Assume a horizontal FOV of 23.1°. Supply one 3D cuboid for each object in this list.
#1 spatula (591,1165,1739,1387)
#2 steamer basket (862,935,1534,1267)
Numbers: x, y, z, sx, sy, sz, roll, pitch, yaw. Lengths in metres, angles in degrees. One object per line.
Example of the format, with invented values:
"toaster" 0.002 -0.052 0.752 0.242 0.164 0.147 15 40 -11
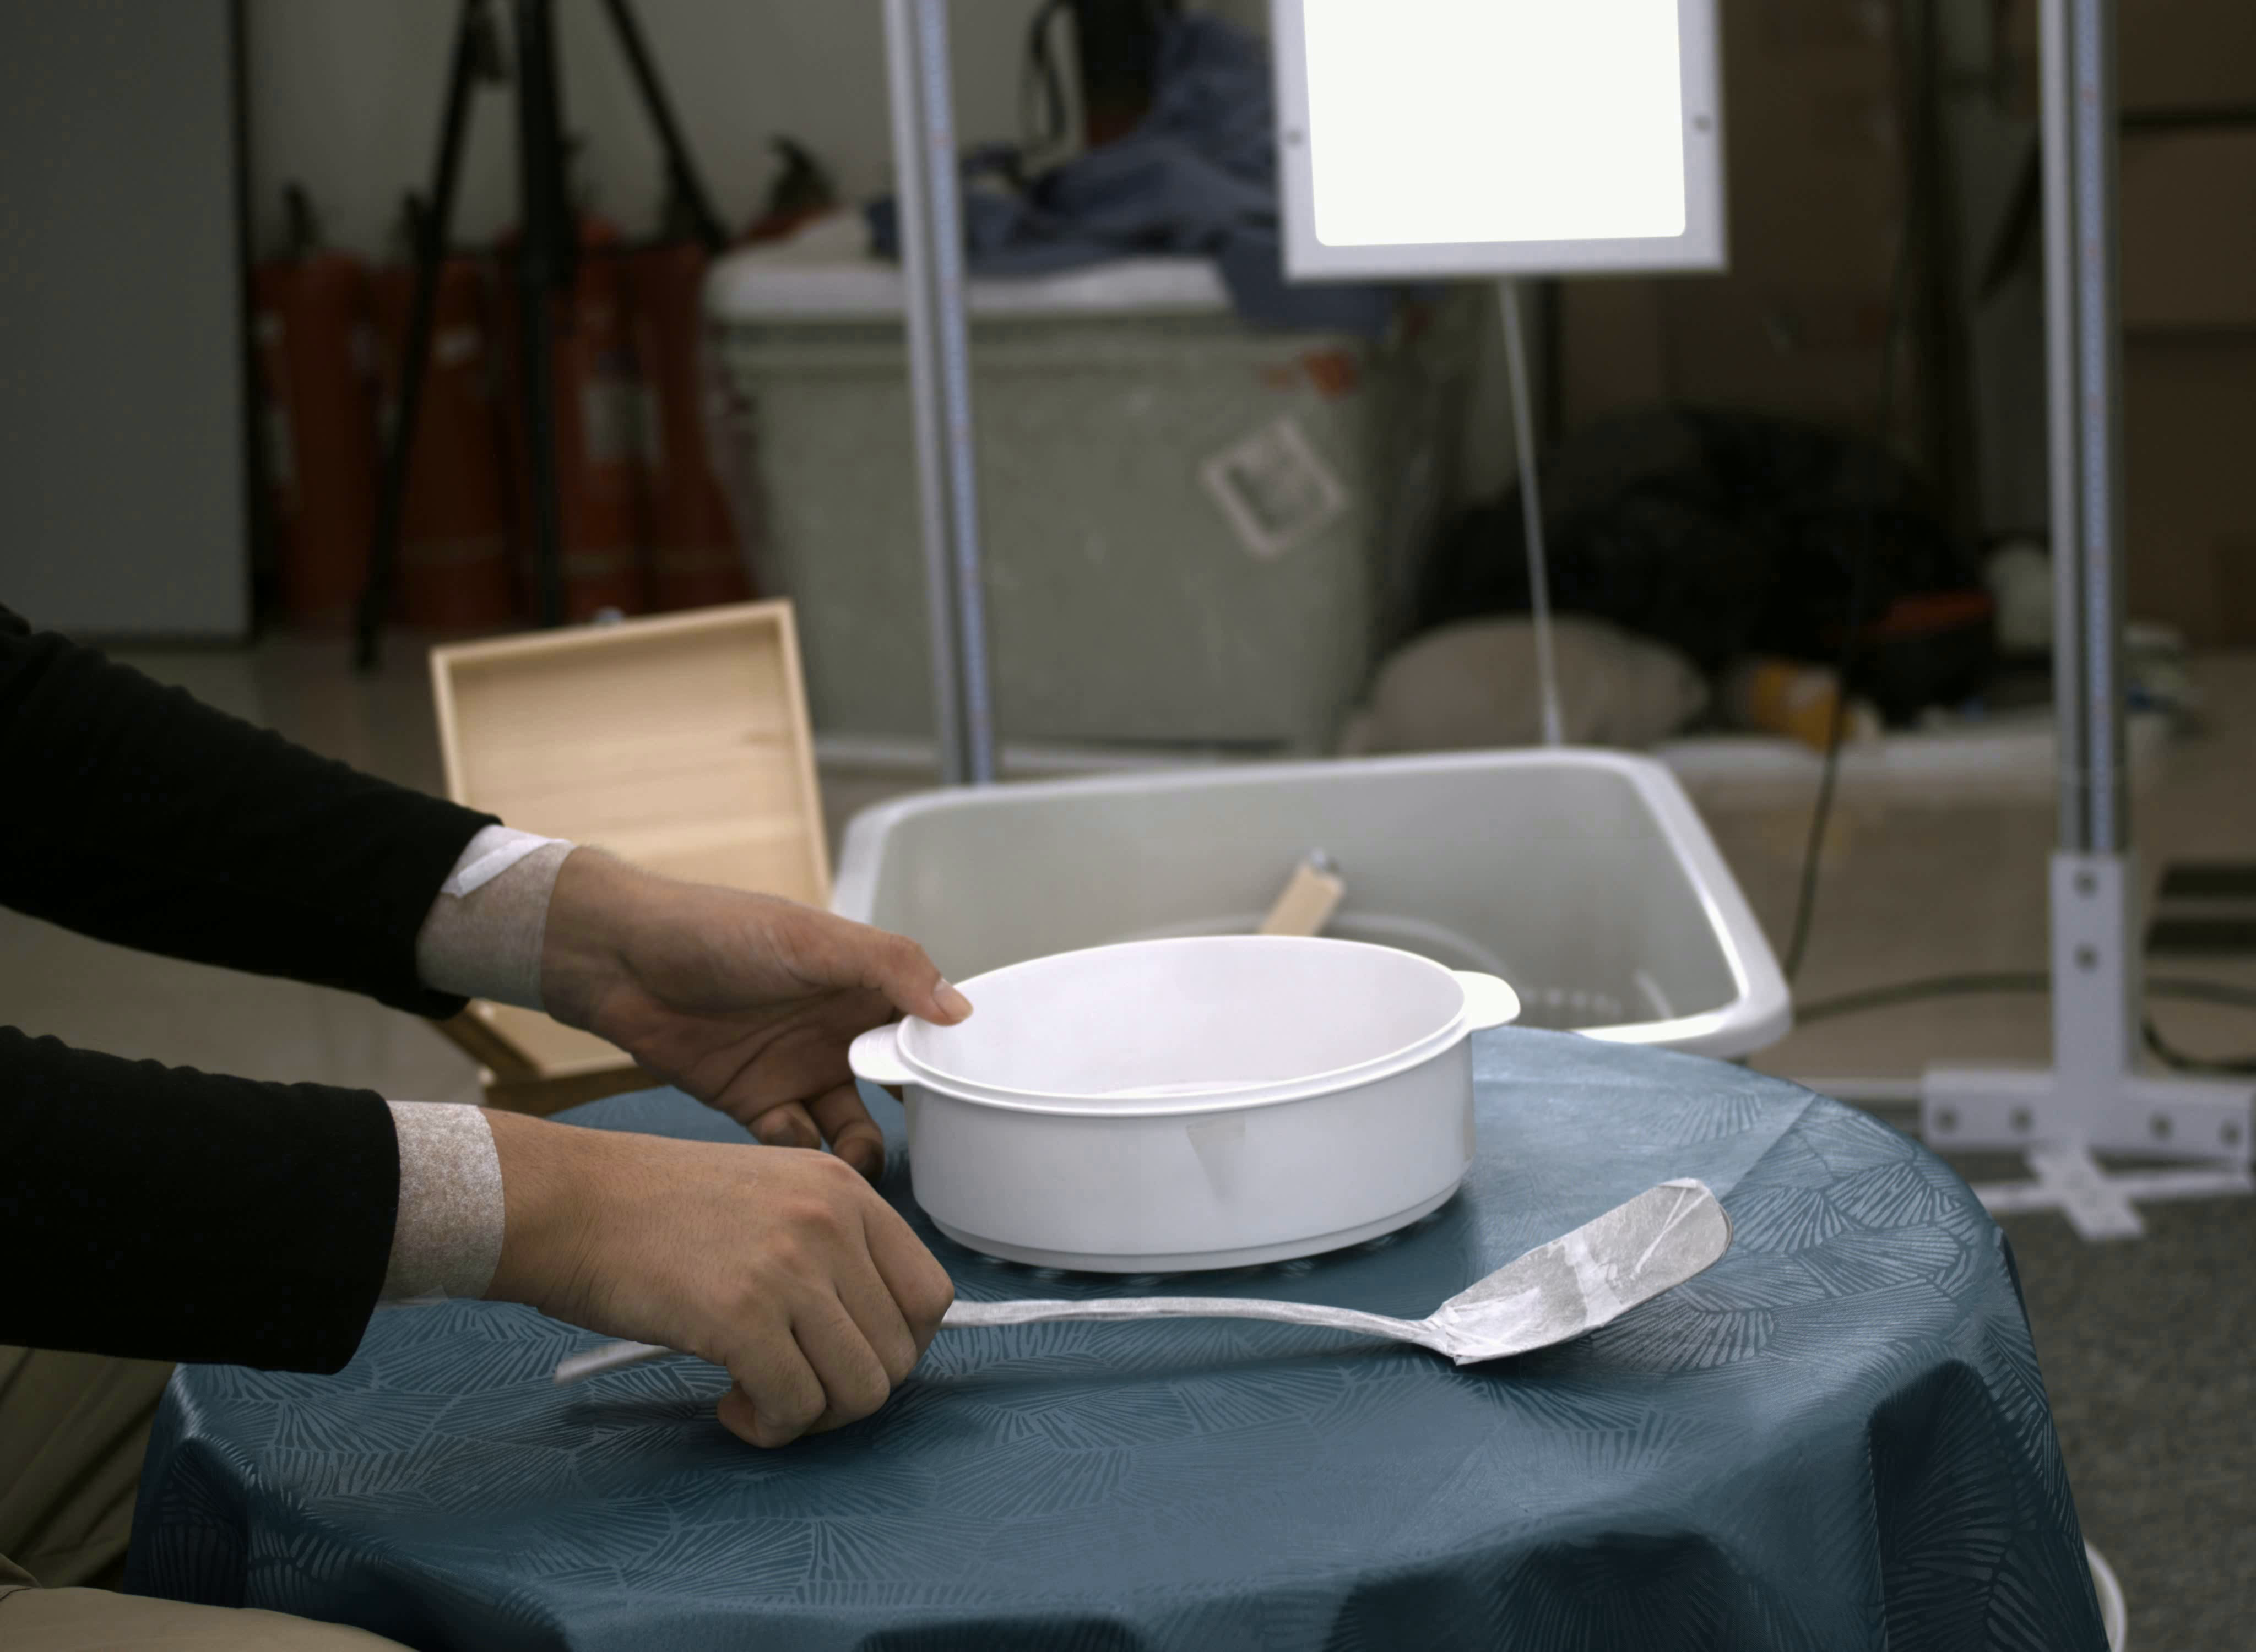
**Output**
"spatula" 0.010 0.148 1.721 0.365 0.045 0.098 -3 16 4
"steamer basket" 0.026 0.094 1.875 0.230 0.069 0.202 -6 13 -1
